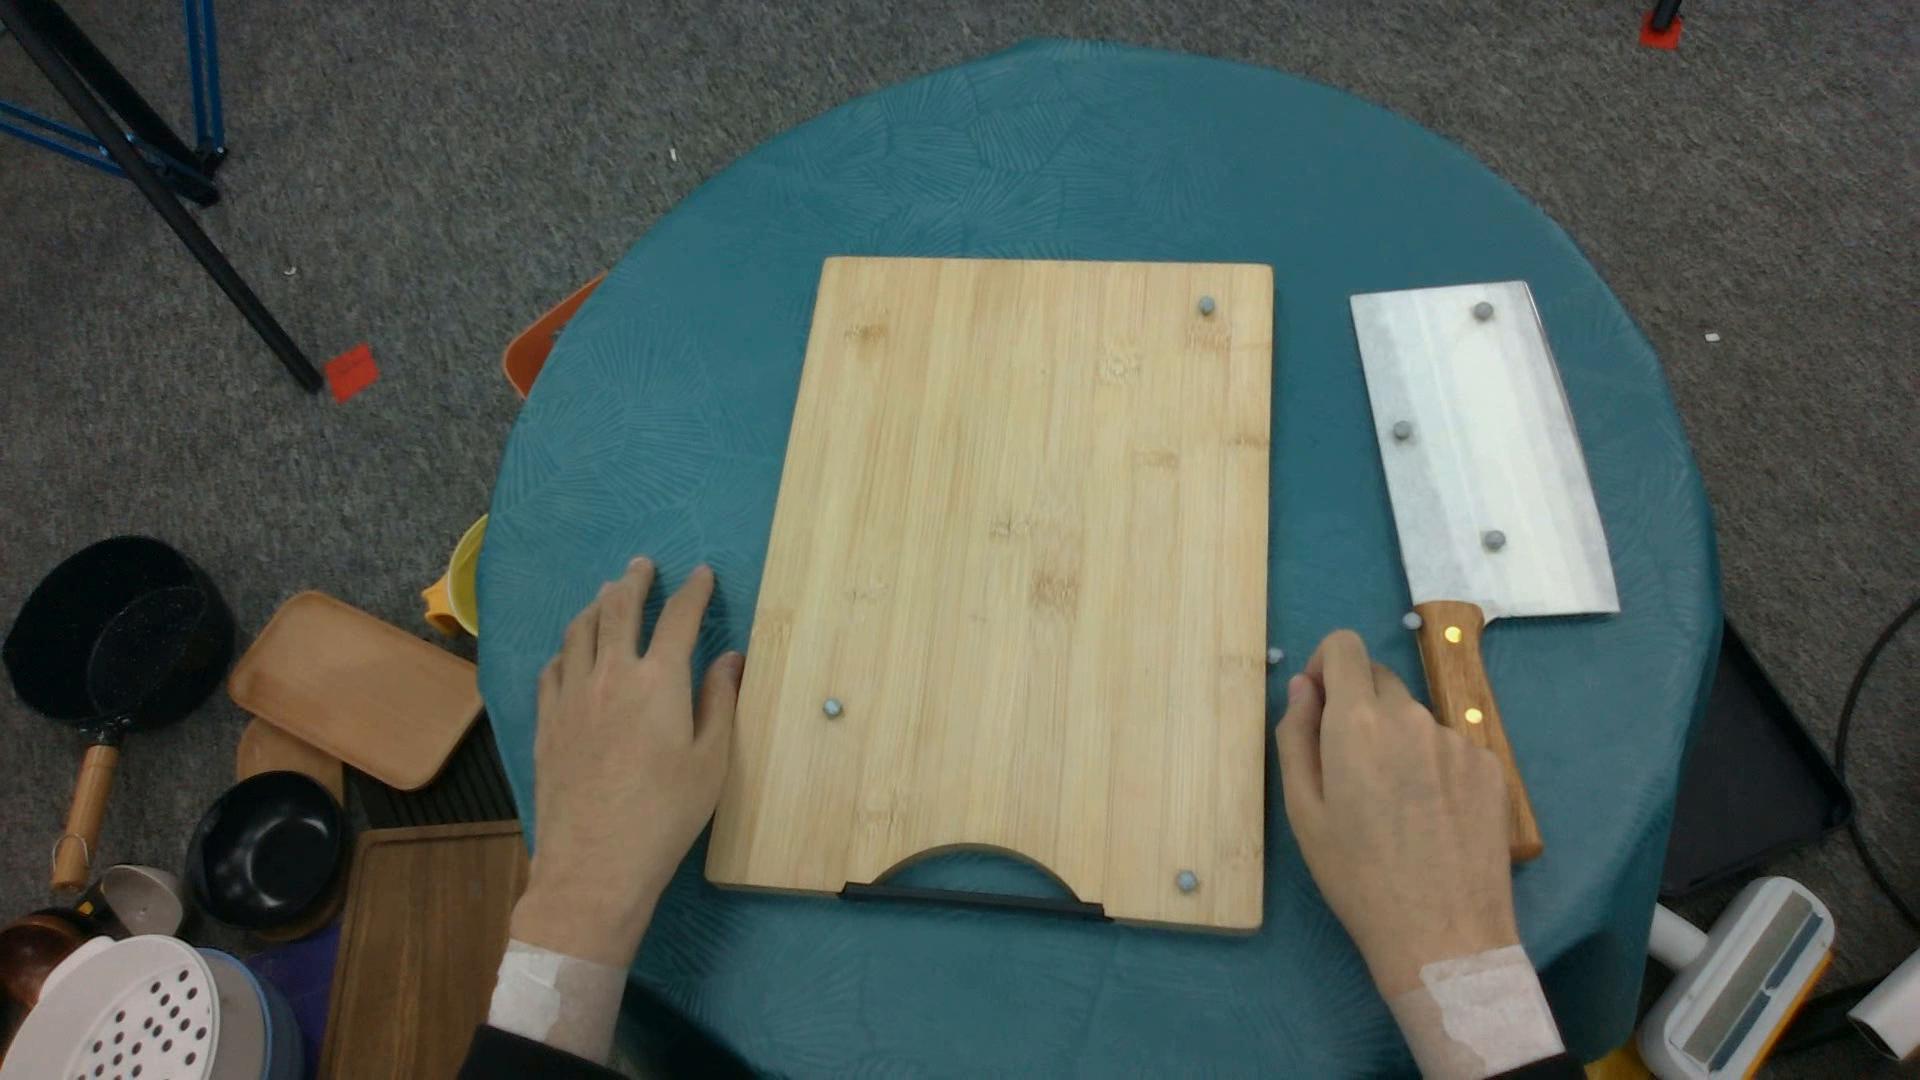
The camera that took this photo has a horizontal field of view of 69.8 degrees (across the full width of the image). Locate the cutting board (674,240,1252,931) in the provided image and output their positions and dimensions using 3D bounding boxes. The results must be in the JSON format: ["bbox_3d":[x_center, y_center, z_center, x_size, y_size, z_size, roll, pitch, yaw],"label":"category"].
[{"bbox_3d":[0.014,0.002,0.662,0.250,0.023,0.350,2,64,7],"label":"cutting board"}]

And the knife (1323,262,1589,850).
[{"bbox_3d":[0.239,-0.009,0.643,0.093,0.021,0.307,-4,61,3],"label":"knife"}]
